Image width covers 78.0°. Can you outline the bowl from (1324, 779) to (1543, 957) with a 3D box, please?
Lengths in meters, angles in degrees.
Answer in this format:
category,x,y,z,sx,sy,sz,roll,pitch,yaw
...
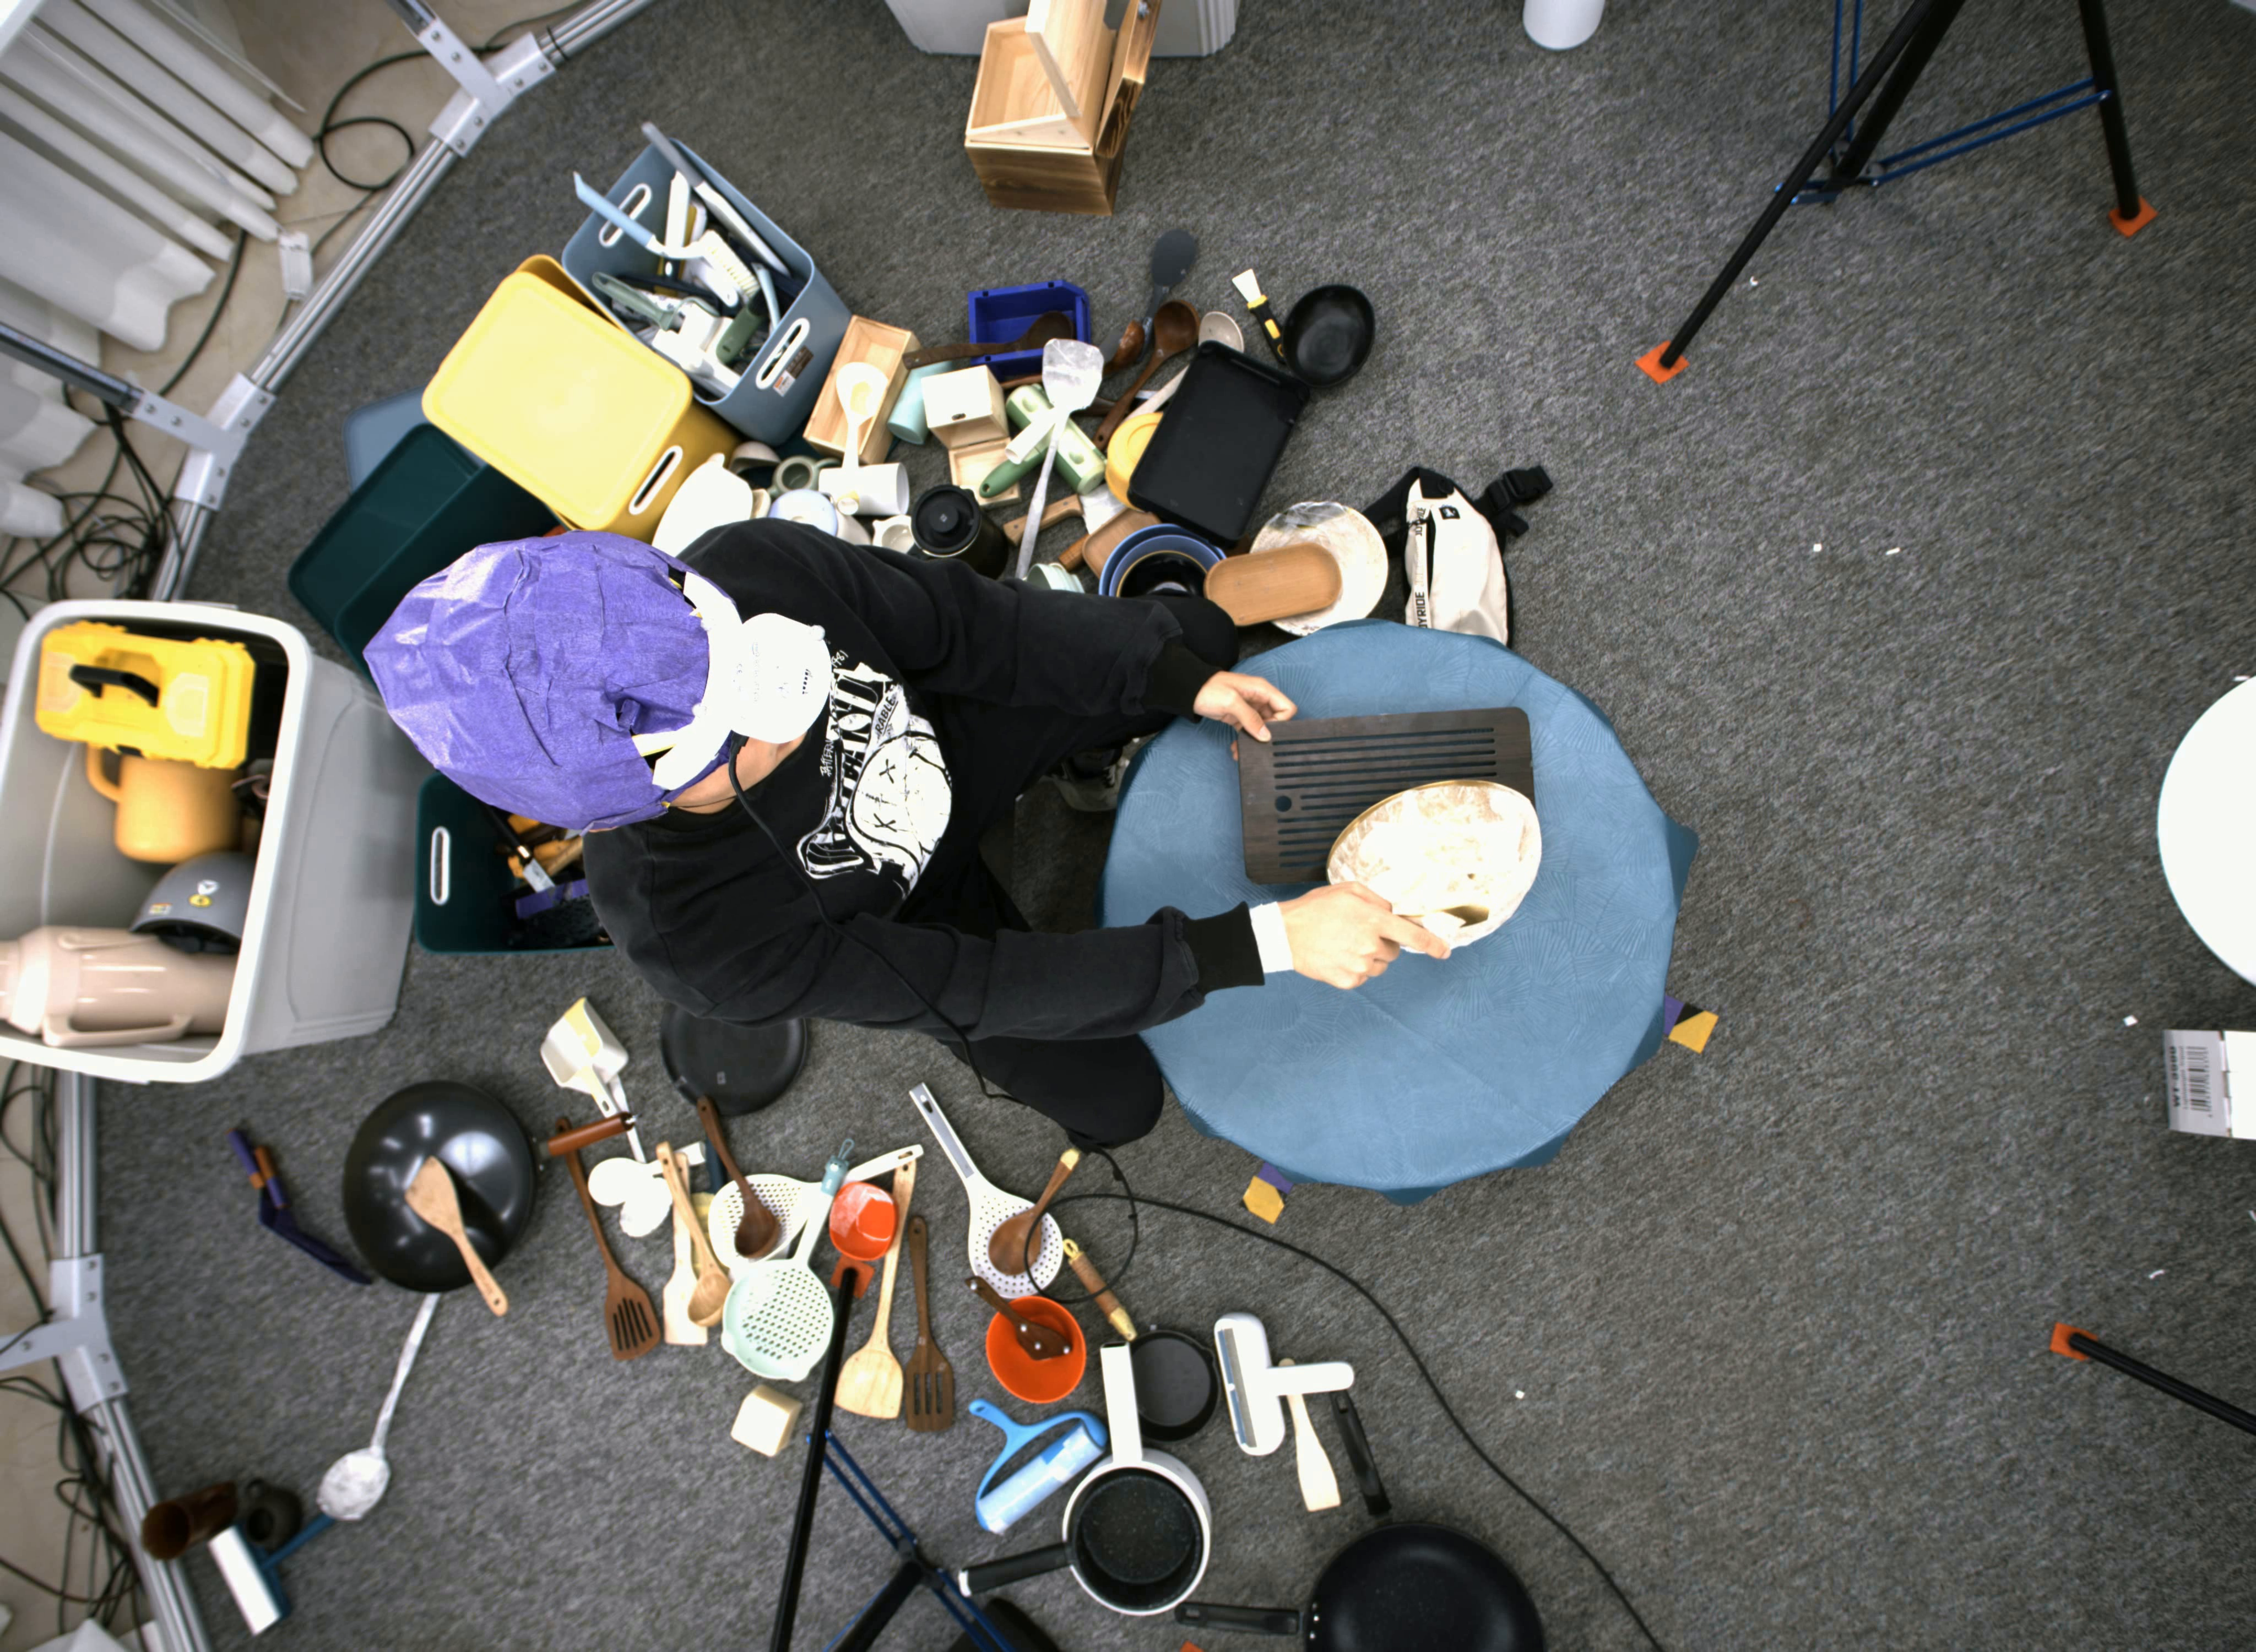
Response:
category,x,y,z,sx,sy,sz,roll,pitch,yaw
bowl,0.299,0.054,1.316,0.216,0.210,0.096,-27,121,6

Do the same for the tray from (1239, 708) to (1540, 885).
category,x,y,z,sx,sy,sz,roll,pitch,yaw
tray,0.272,-0.032,1.435,0.306,0.018,0.170,-4,90,1
